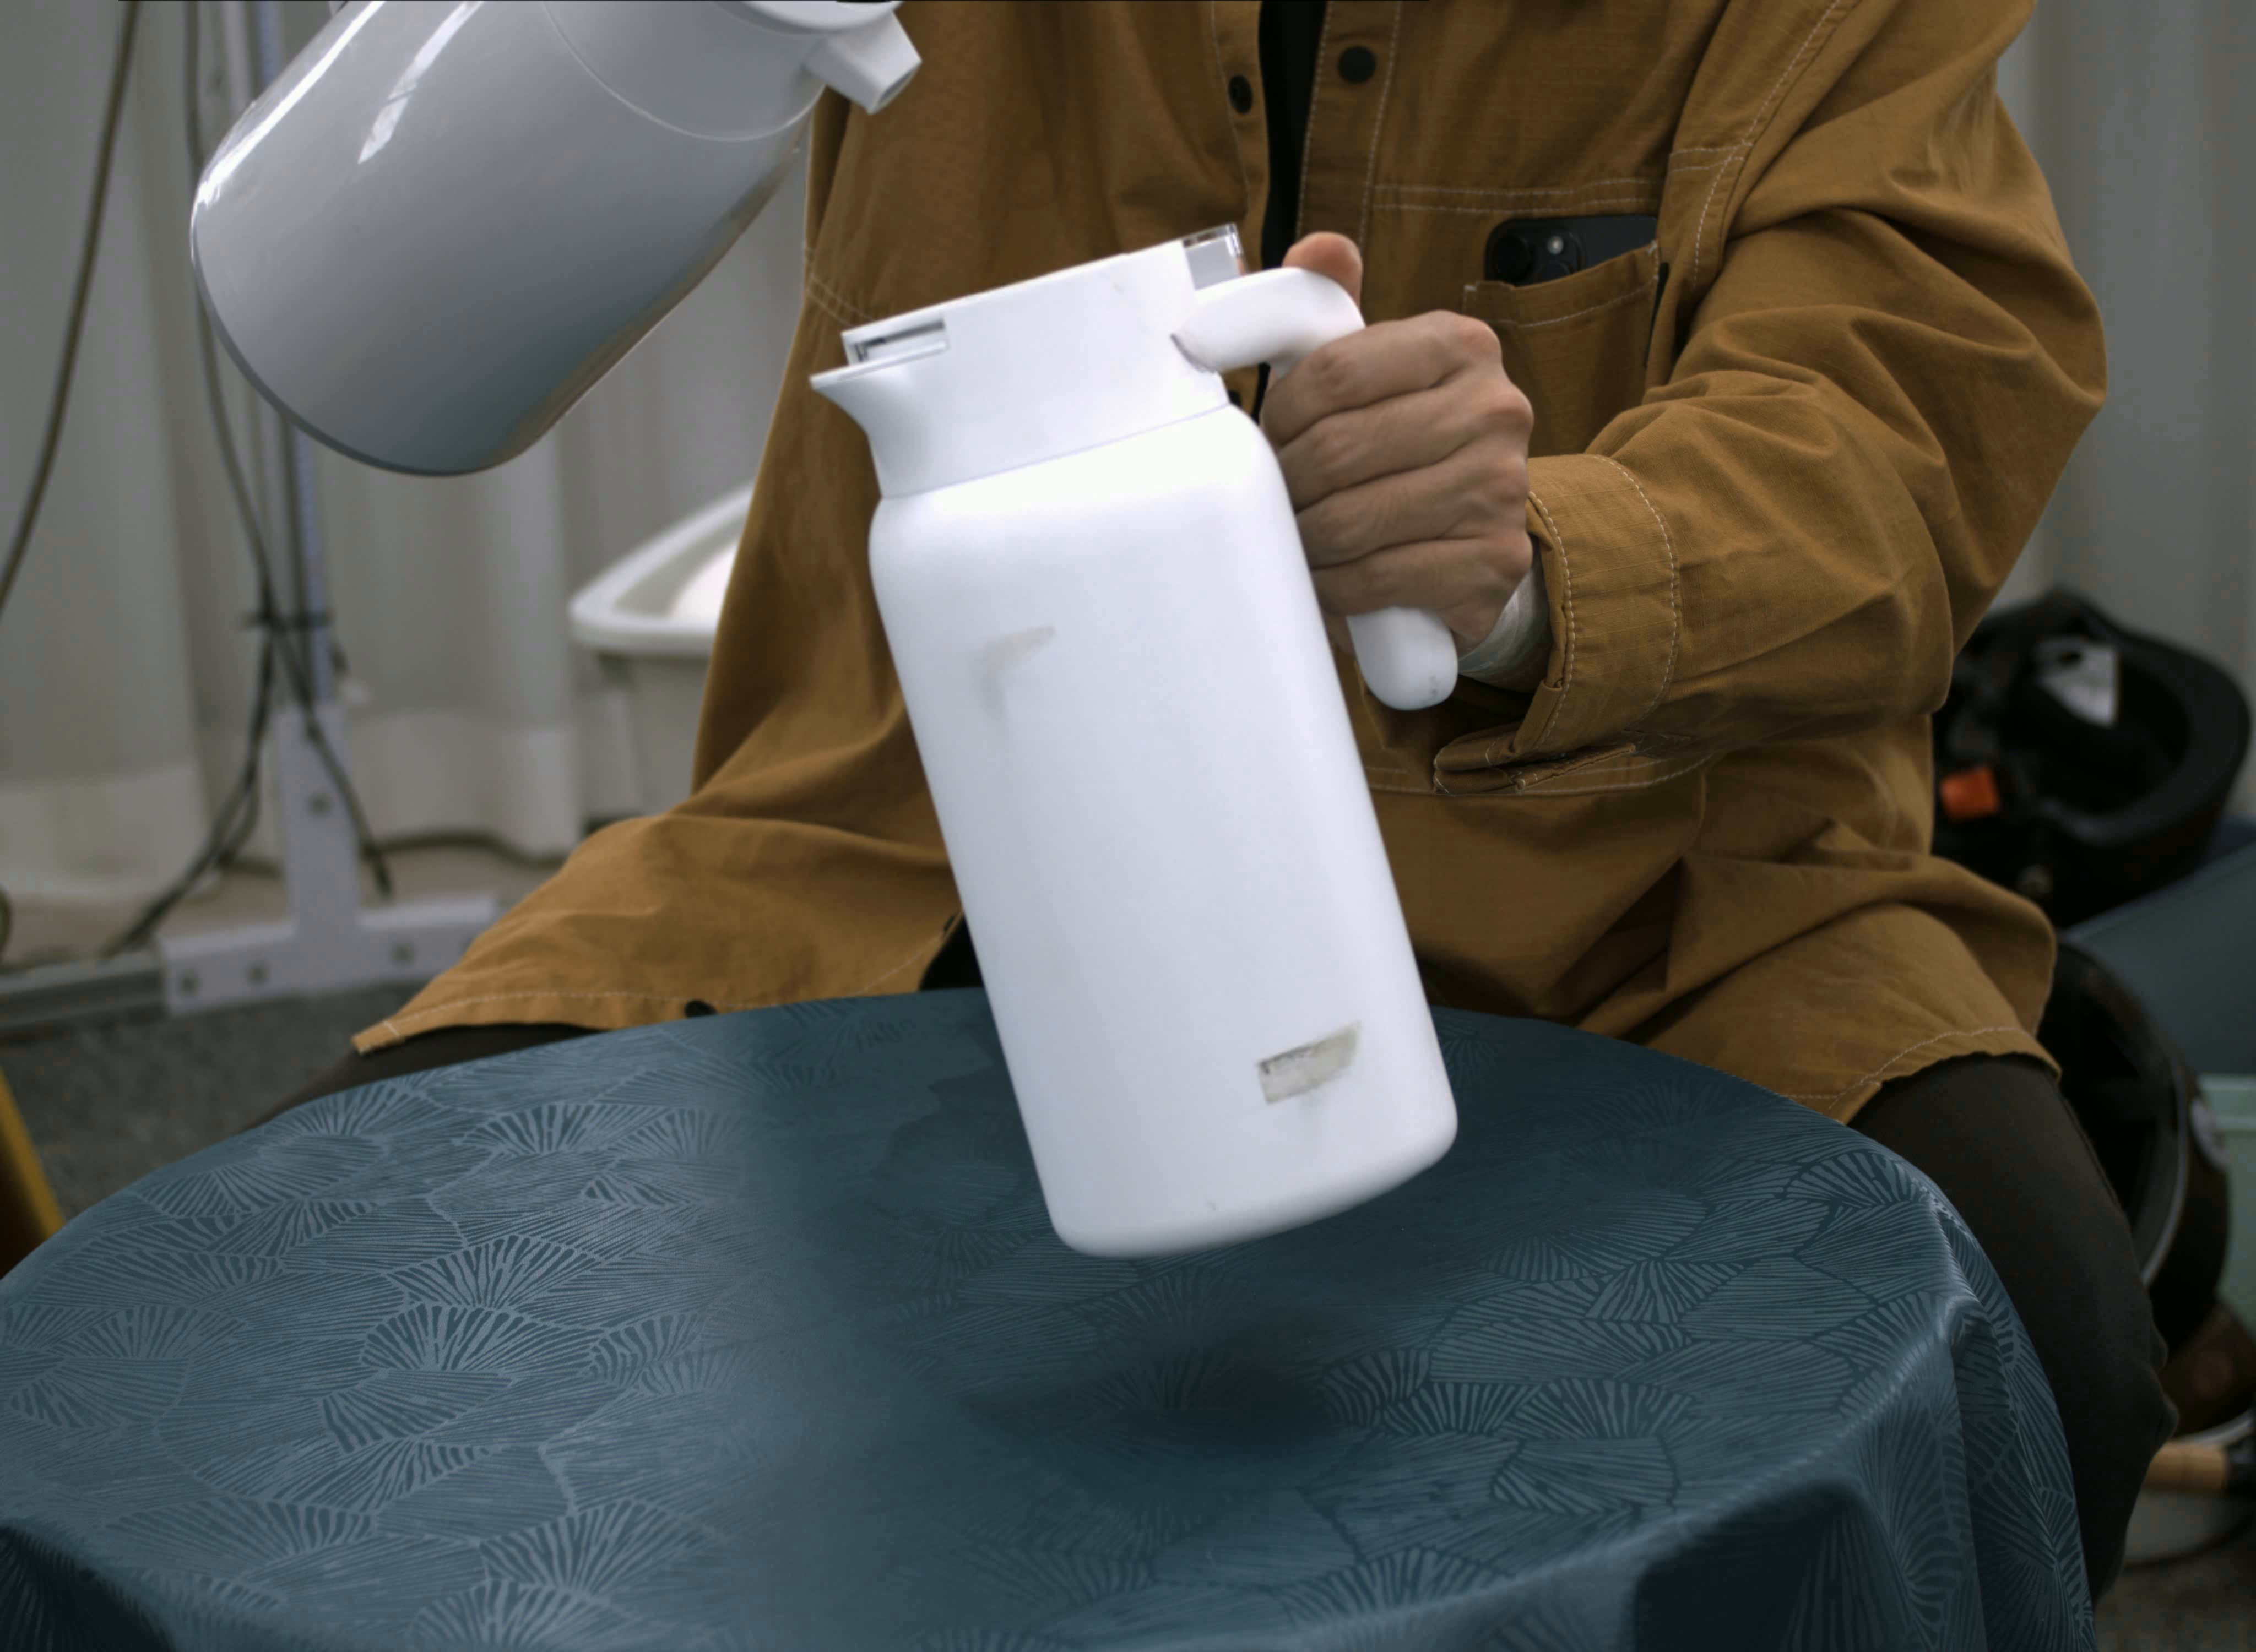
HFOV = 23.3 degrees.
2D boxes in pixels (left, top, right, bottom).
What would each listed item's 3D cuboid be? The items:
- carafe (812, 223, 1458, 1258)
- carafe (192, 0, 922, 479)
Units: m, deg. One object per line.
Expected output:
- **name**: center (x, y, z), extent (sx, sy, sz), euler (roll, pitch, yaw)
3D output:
- **carafe**: center (0.016, -0.028, 1.519), extent (0.172, 0.269, 0.124), euler (-18, 4, -33)
- **carafe**: center (-0.170, -0.227, 1.577), extent (0.247, 0.167, 0.133), euler (-37, 6, 47)
